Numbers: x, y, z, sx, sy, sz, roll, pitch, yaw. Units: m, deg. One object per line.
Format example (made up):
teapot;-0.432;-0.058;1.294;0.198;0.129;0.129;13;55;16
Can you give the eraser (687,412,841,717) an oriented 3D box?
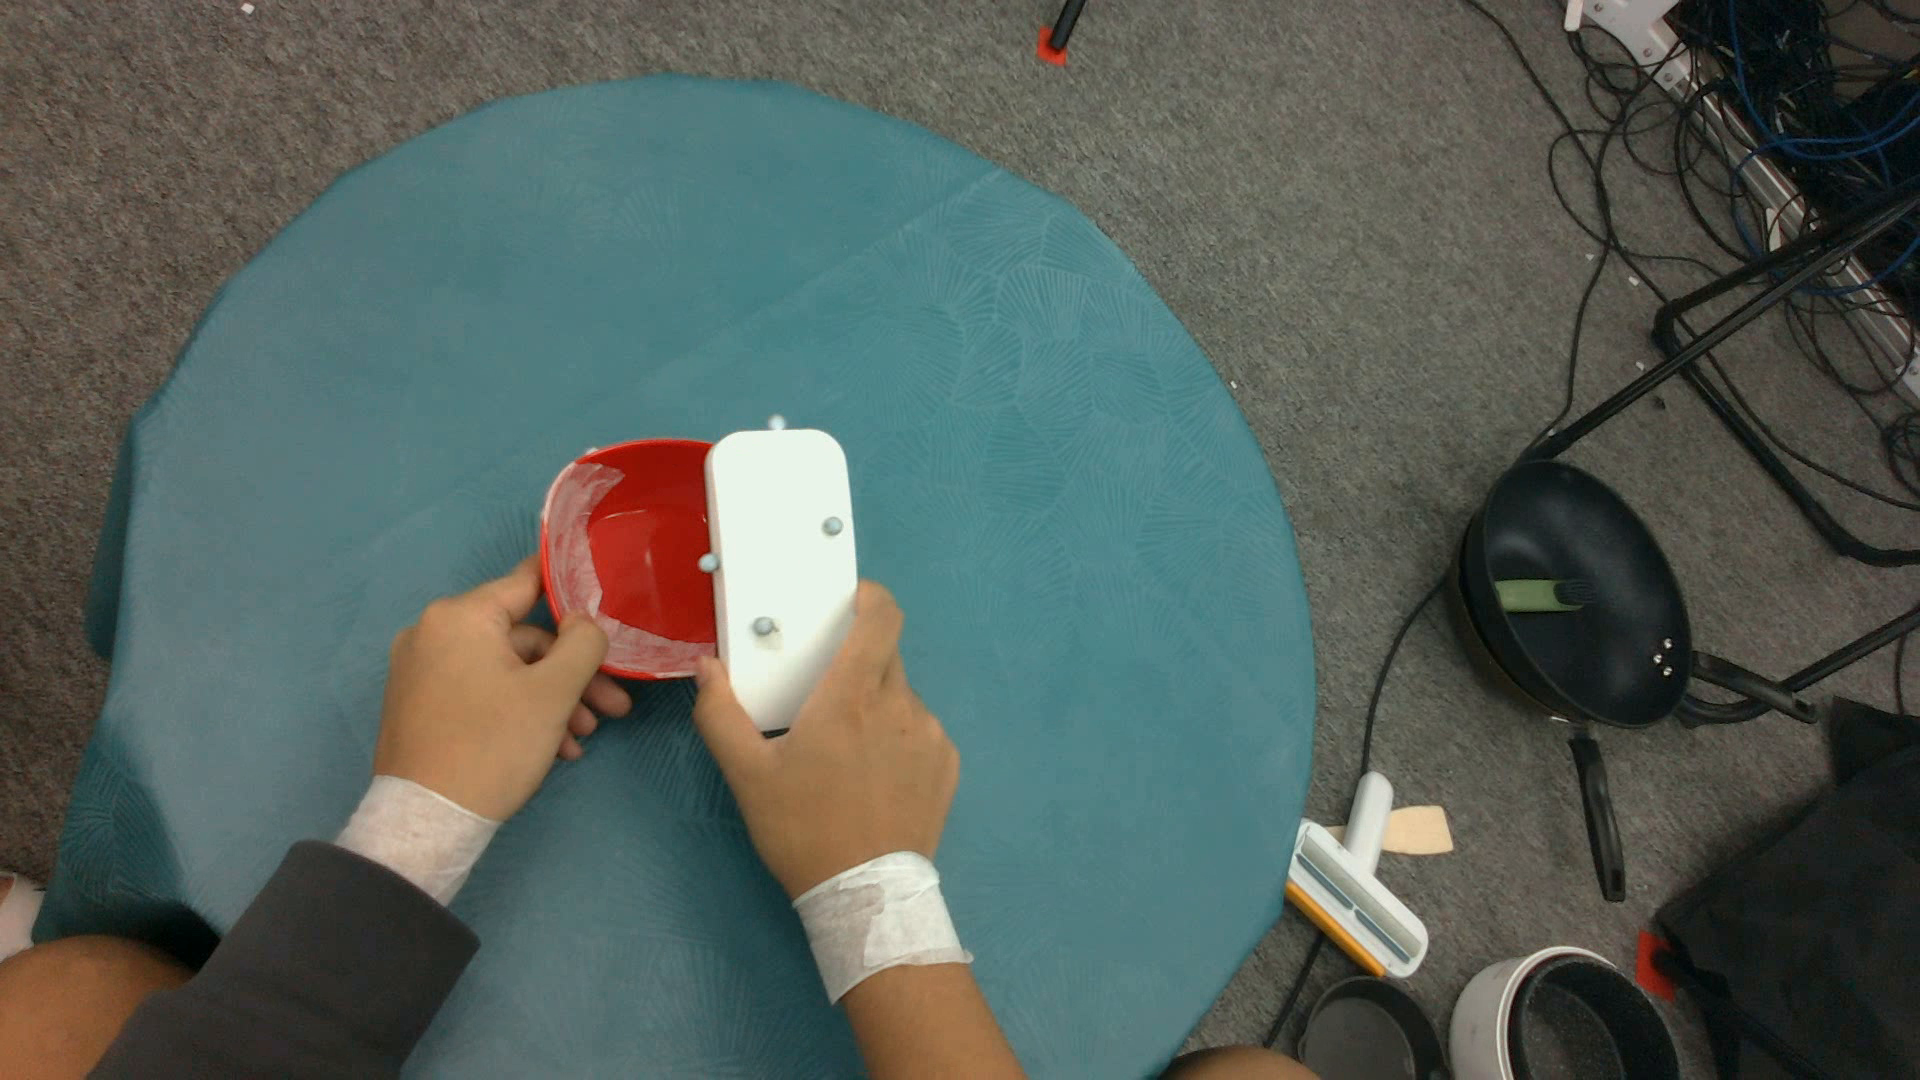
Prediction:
eraser;-0.088;0.010;0.604;0.063;0.034;0.131;-3;90;-28

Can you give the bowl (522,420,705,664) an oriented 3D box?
bowl;-0.146;0.005;0.632;0.119;0.051;0.119;6;74;-24
